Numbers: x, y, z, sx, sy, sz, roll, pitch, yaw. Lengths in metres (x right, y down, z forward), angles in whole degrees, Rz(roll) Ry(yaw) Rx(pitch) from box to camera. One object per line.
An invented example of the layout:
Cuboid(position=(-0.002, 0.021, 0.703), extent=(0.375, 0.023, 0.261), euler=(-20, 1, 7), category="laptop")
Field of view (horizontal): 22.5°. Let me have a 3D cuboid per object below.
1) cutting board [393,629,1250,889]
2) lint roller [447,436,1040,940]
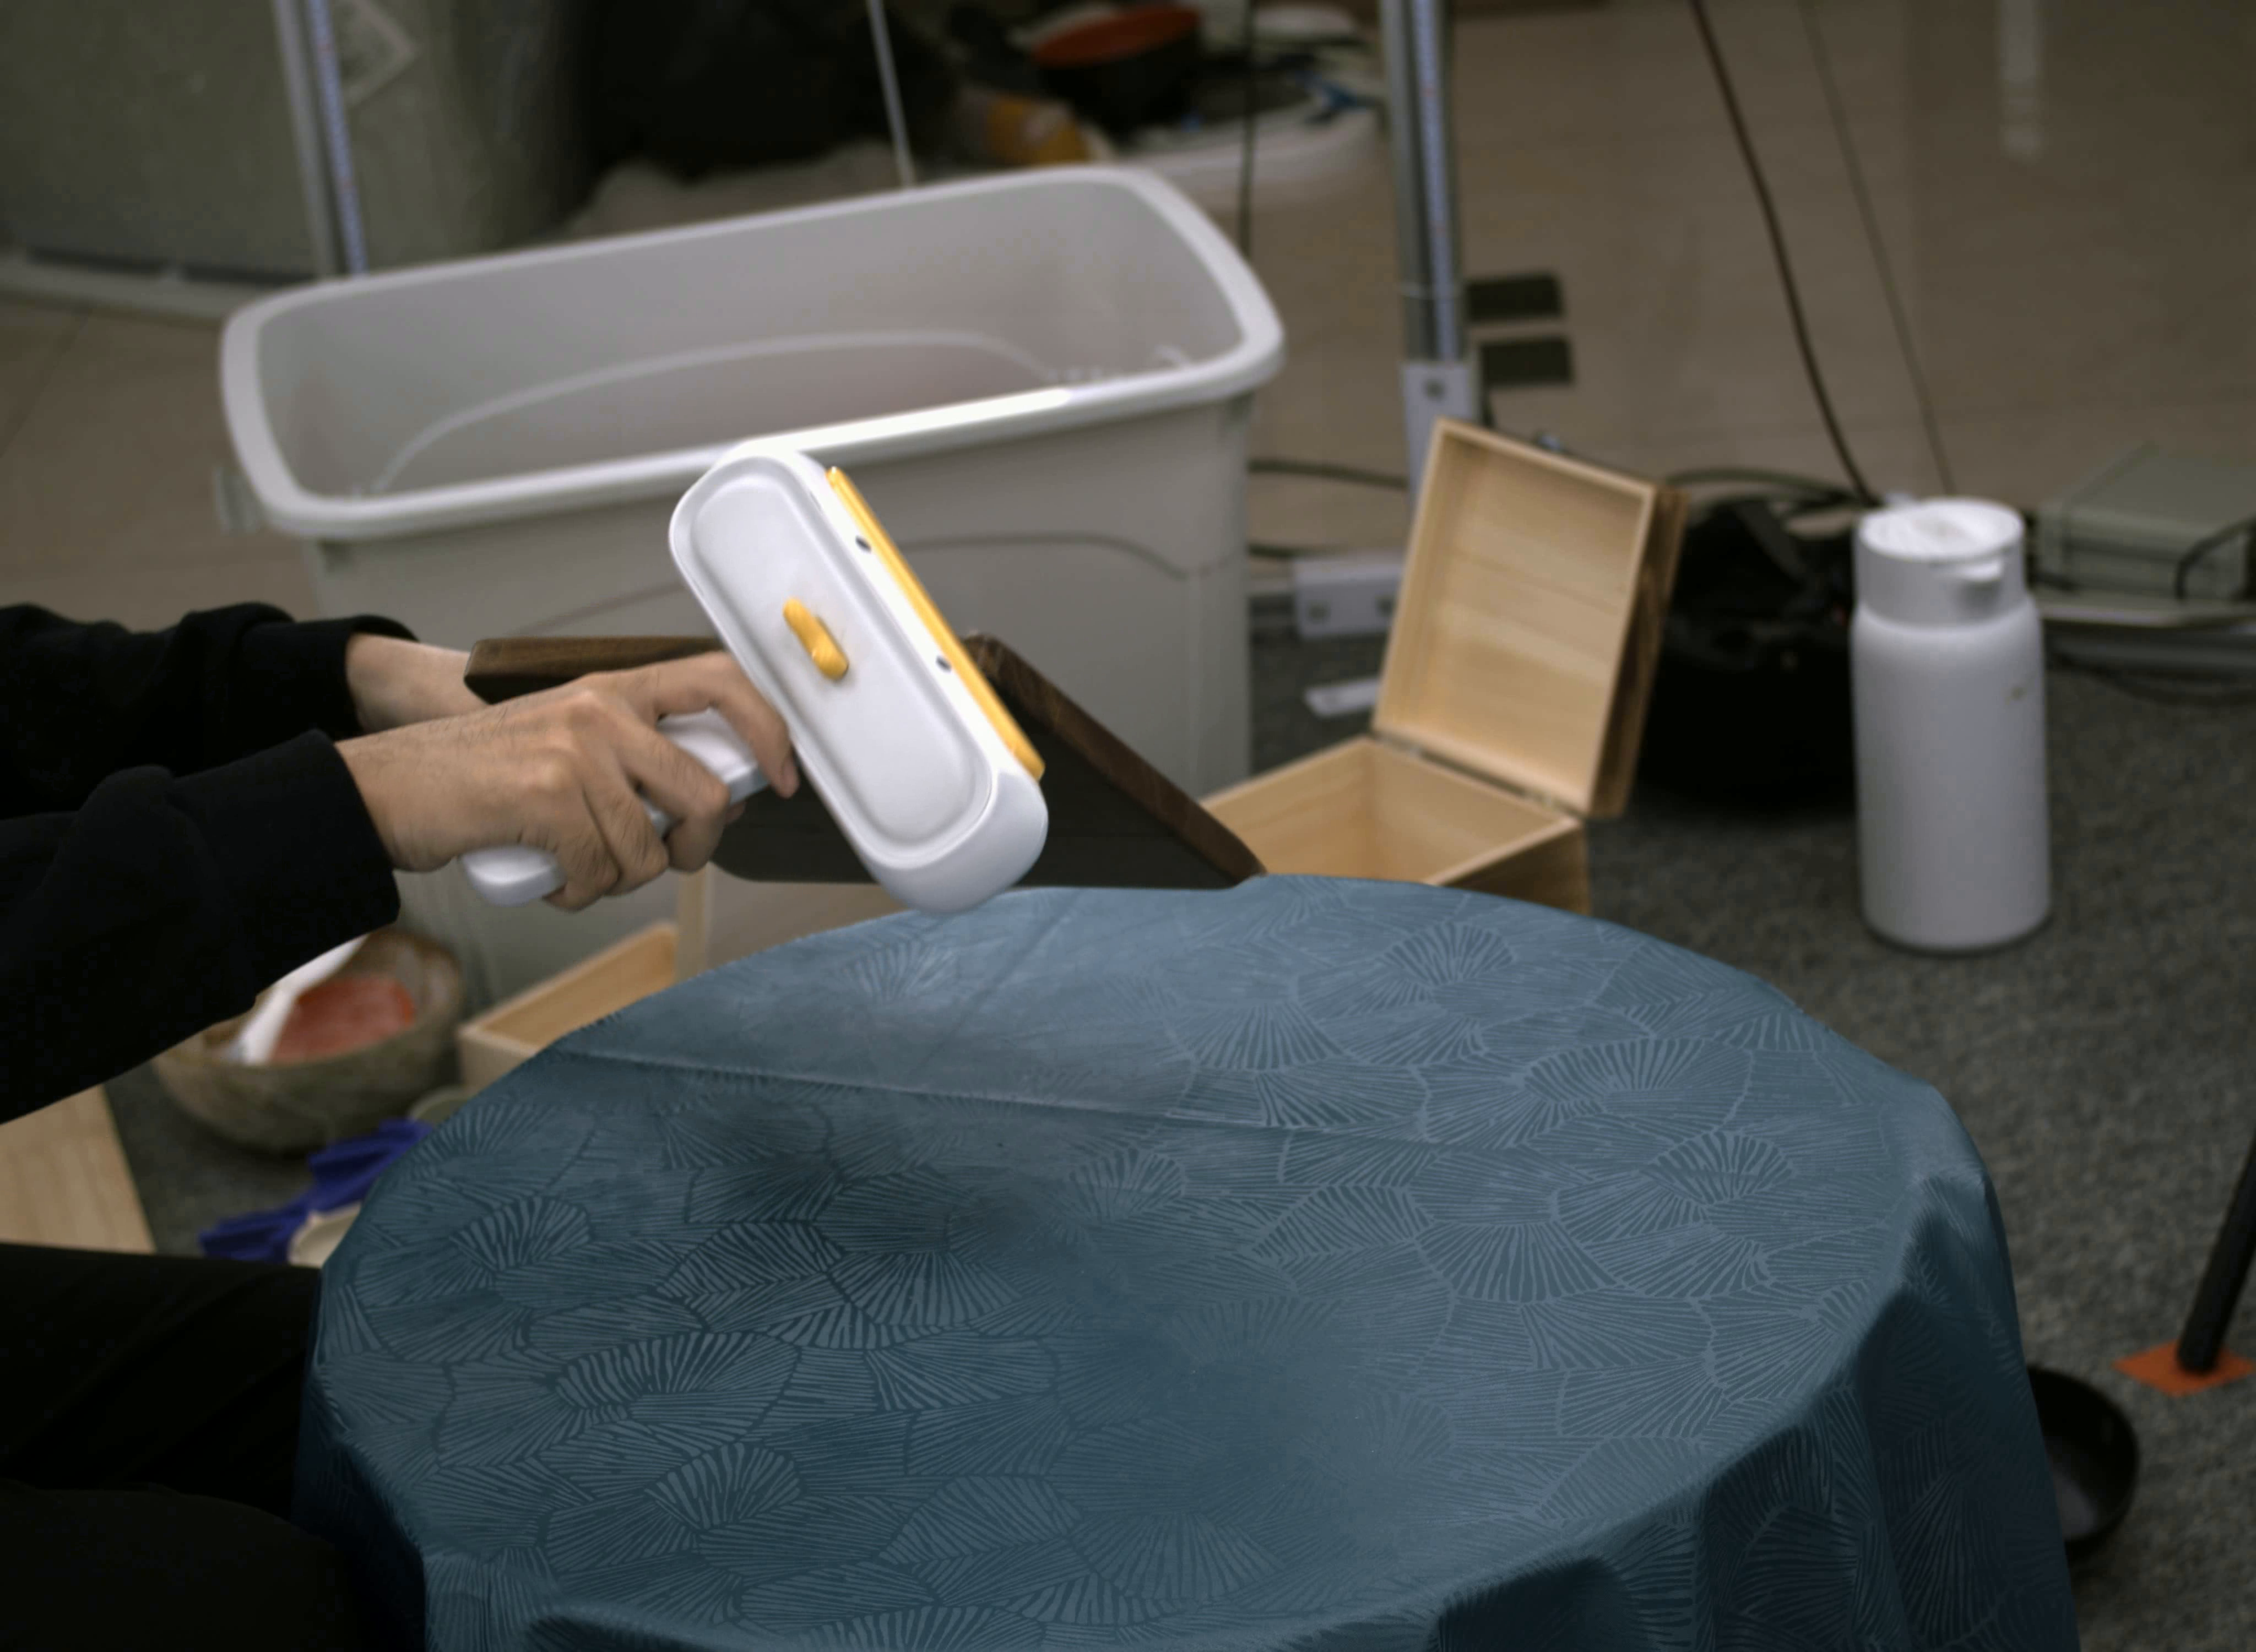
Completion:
Cuboid(position=(-0.144, -0.024, 2.198), extent=(0.351, 0.203, 0.023), euler=(0, 66, 33), category="cutting board")
Cuboid(position=(-0.150, -0.024, 1.977), extent=(0.192, 0.075, 0.191), euler=(-36, 71, -3), category="lint roller")
